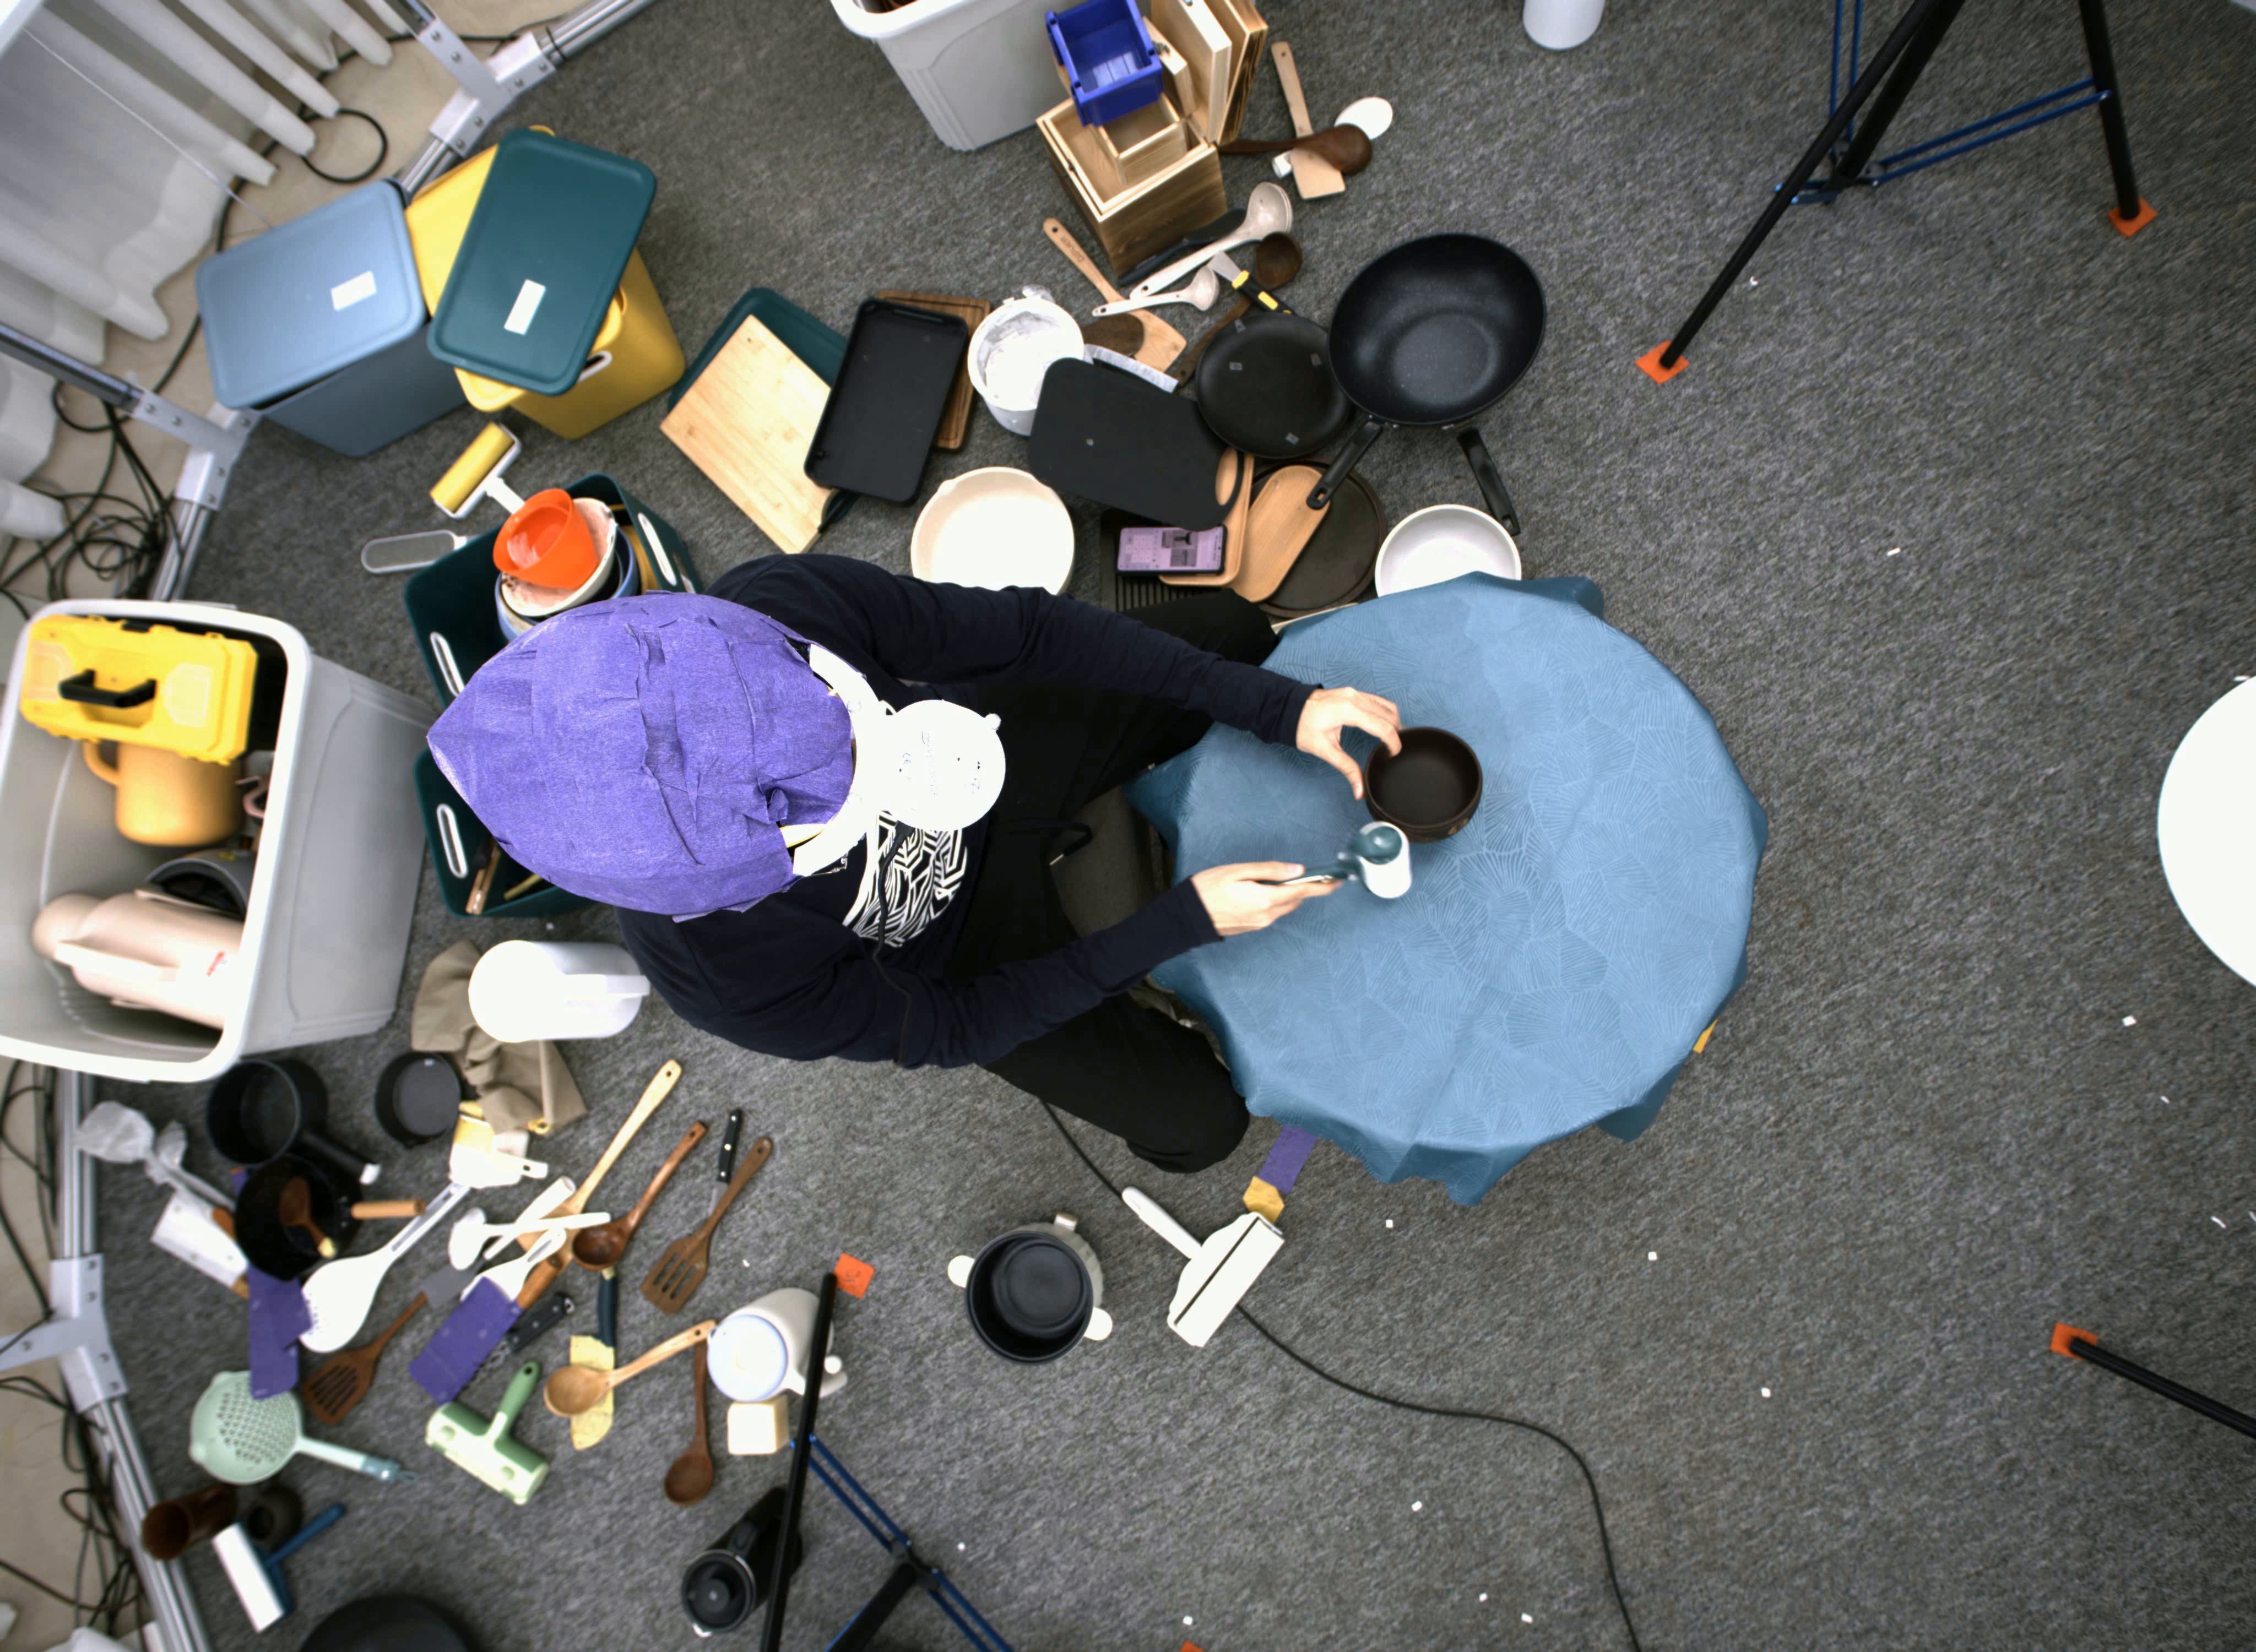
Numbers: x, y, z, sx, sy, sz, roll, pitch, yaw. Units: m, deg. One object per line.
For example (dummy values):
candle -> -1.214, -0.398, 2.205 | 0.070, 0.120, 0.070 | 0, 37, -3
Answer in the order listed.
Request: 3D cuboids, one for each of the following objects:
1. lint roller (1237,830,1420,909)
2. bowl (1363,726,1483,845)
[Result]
lint roller -> 0.200, 0.054, 1.390 | 0.181, 0.136, 0.047 | -10, 65, 13
bowl -> 0.295, -0.036, 1.383 | 0.118, 0.071, 0.116 | -4, 68, 9
